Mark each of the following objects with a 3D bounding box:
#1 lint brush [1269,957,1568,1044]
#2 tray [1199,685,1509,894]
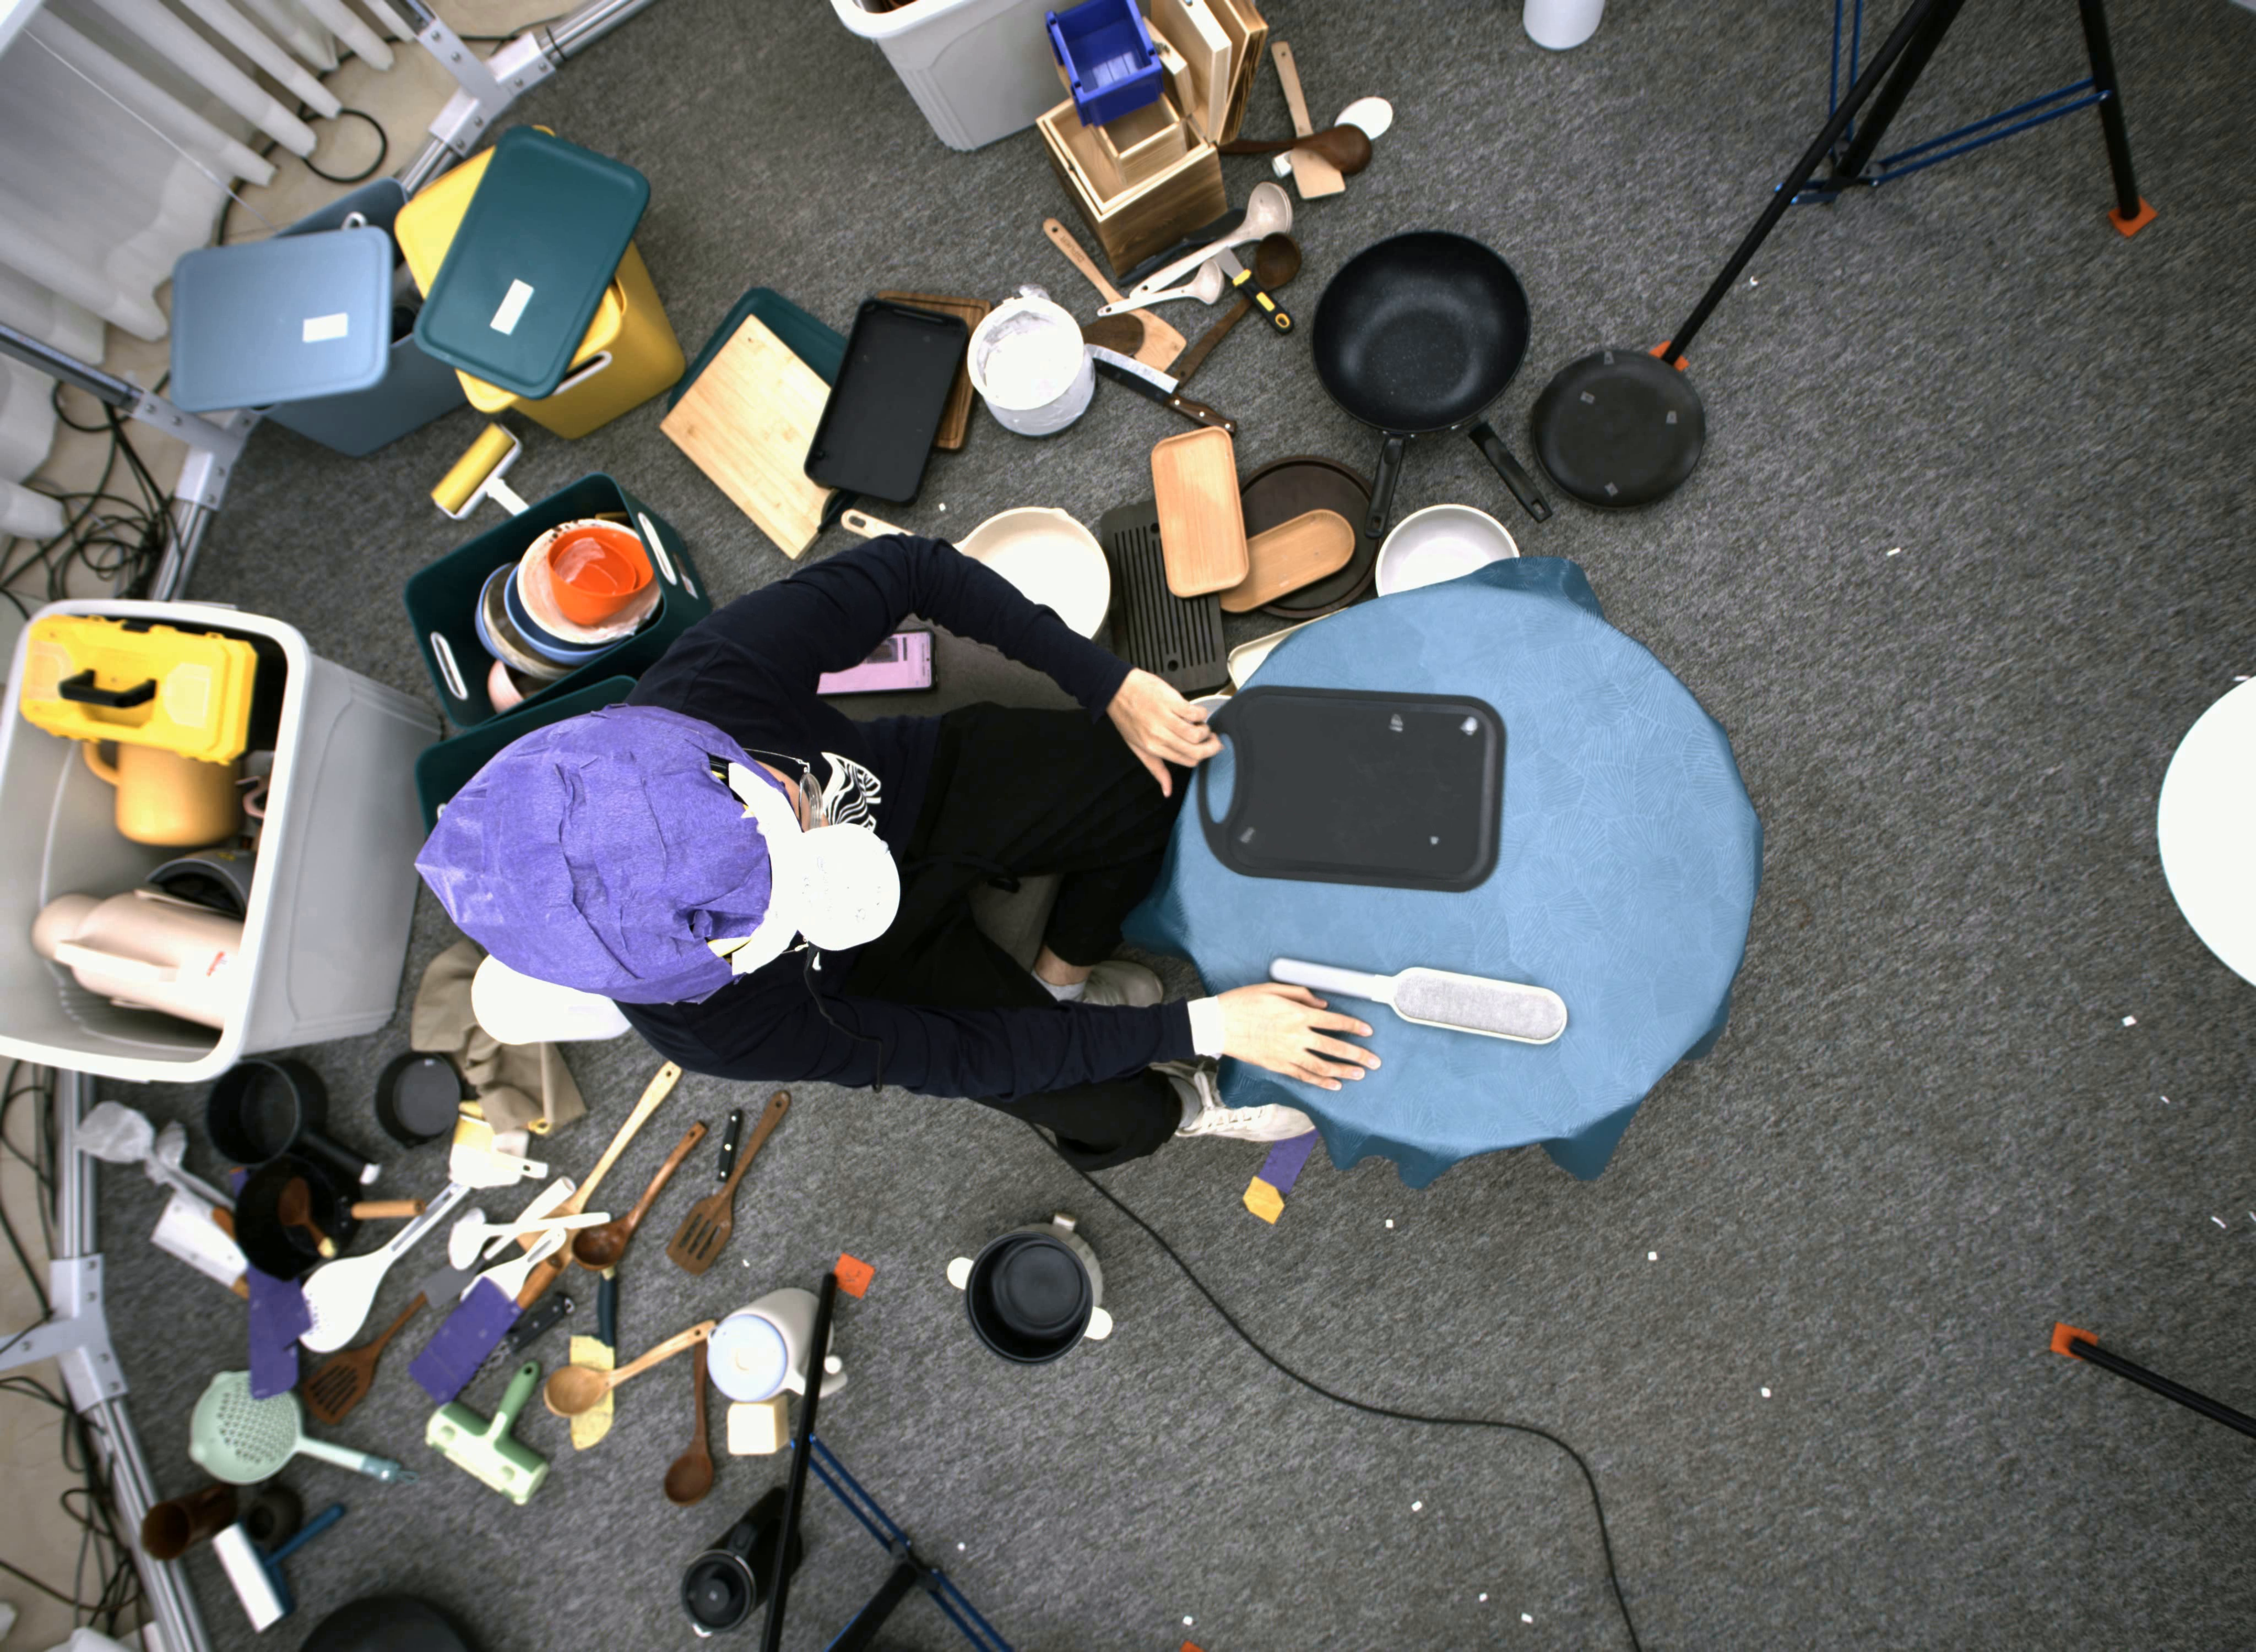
[{"bbox_3d":[0.299,0.172,1.435,0.309,0.021,0.060,9,93,11],"label":"lint brush"},{"bbox_3d":[0.236,-0.042,1.470,0.326,0.010,0.210,5,88,11],"label":"tray"}]
